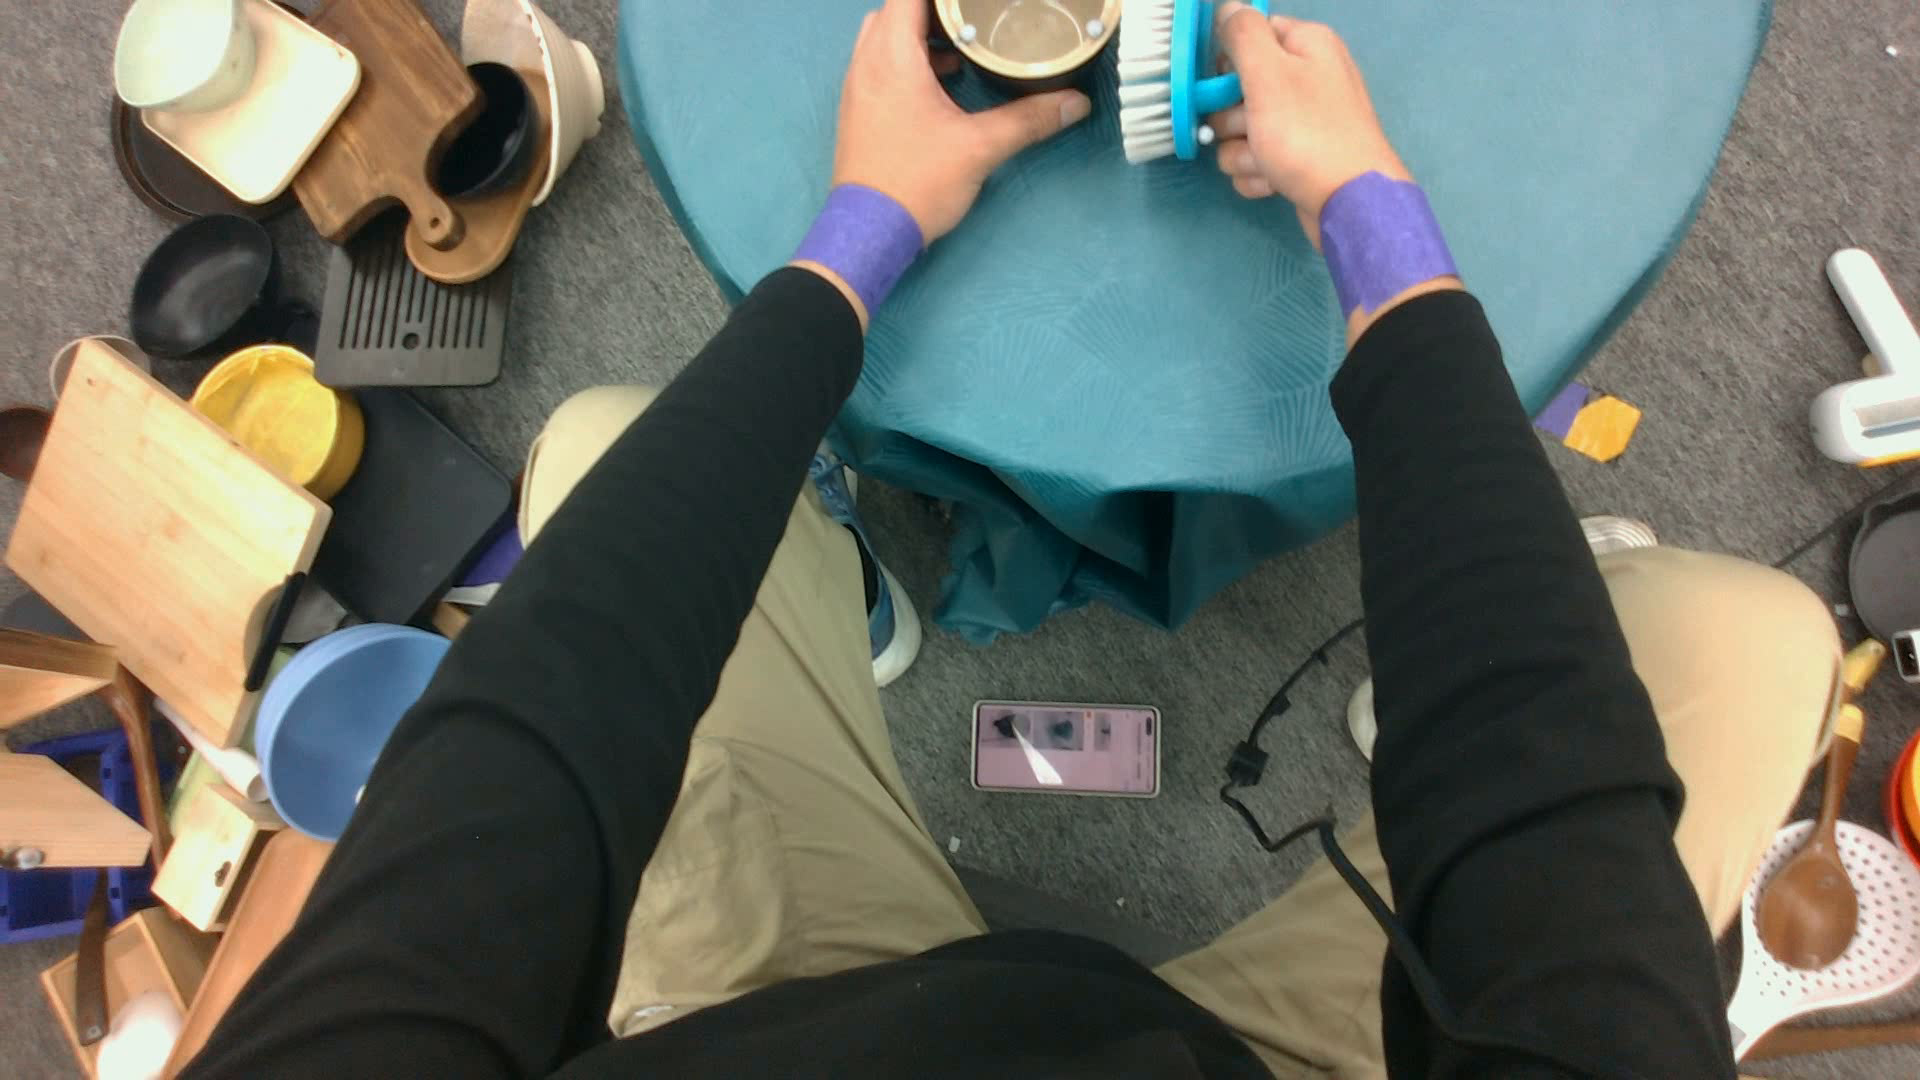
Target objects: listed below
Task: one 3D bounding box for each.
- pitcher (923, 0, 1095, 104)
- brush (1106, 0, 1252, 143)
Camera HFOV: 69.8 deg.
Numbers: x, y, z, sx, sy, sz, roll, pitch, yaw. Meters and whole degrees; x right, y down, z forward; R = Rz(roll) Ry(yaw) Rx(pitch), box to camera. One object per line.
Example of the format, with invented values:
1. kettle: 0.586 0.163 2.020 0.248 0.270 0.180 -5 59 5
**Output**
1. pitcher: 0.027 -0.265 0.692 0.083 0.071 0.096 12 82 7
2. brush: 0.110 -0.257 0.669 0.064 0.084 0.142 5 71 11
